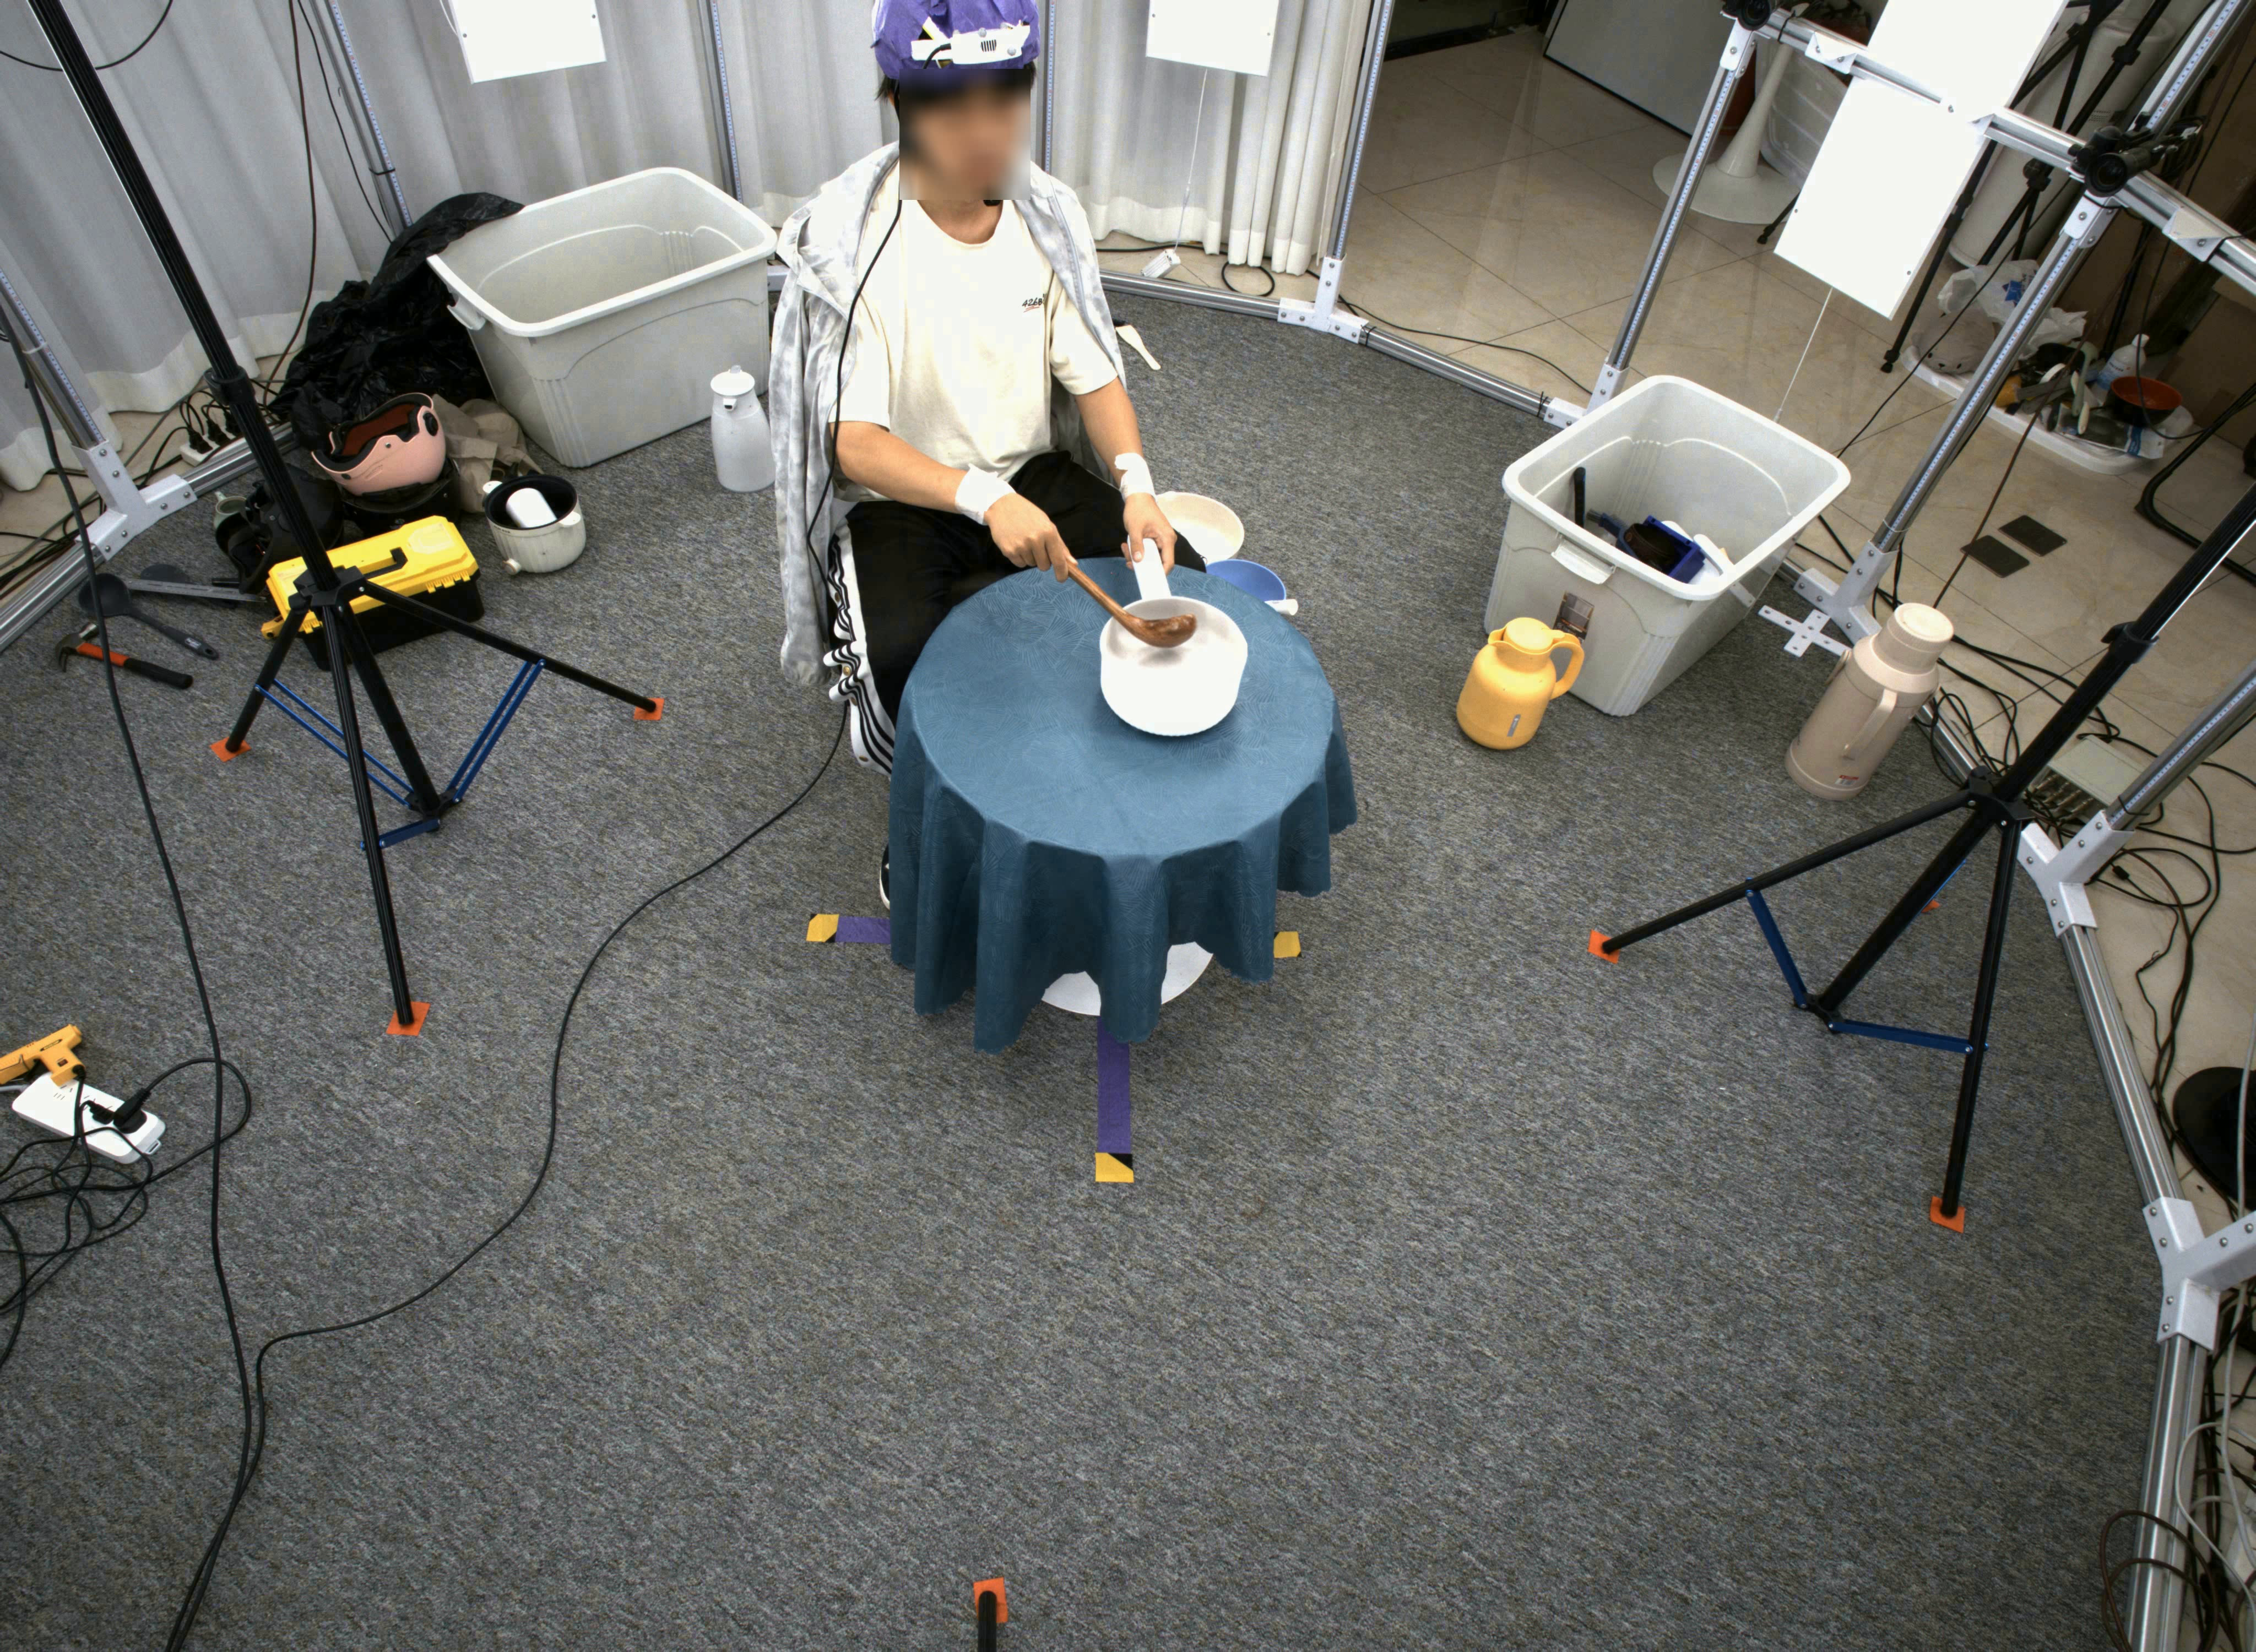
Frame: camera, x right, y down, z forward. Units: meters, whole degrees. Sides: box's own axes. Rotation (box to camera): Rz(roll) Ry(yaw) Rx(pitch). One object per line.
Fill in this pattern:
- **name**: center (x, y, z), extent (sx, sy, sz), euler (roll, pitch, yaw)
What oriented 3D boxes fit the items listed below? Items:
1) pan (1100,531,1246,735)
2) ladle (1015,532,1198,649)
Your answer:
- **pan**: center (0.048, -0.277, 1.842), extent (0.201, 0.099, 0.364), euler (-6, 49, -8)
- **ladle**: center (-0.025, -0.337, 1.777), extent (0.274, 0.081, 0.078), euler (38, 62, -1)
